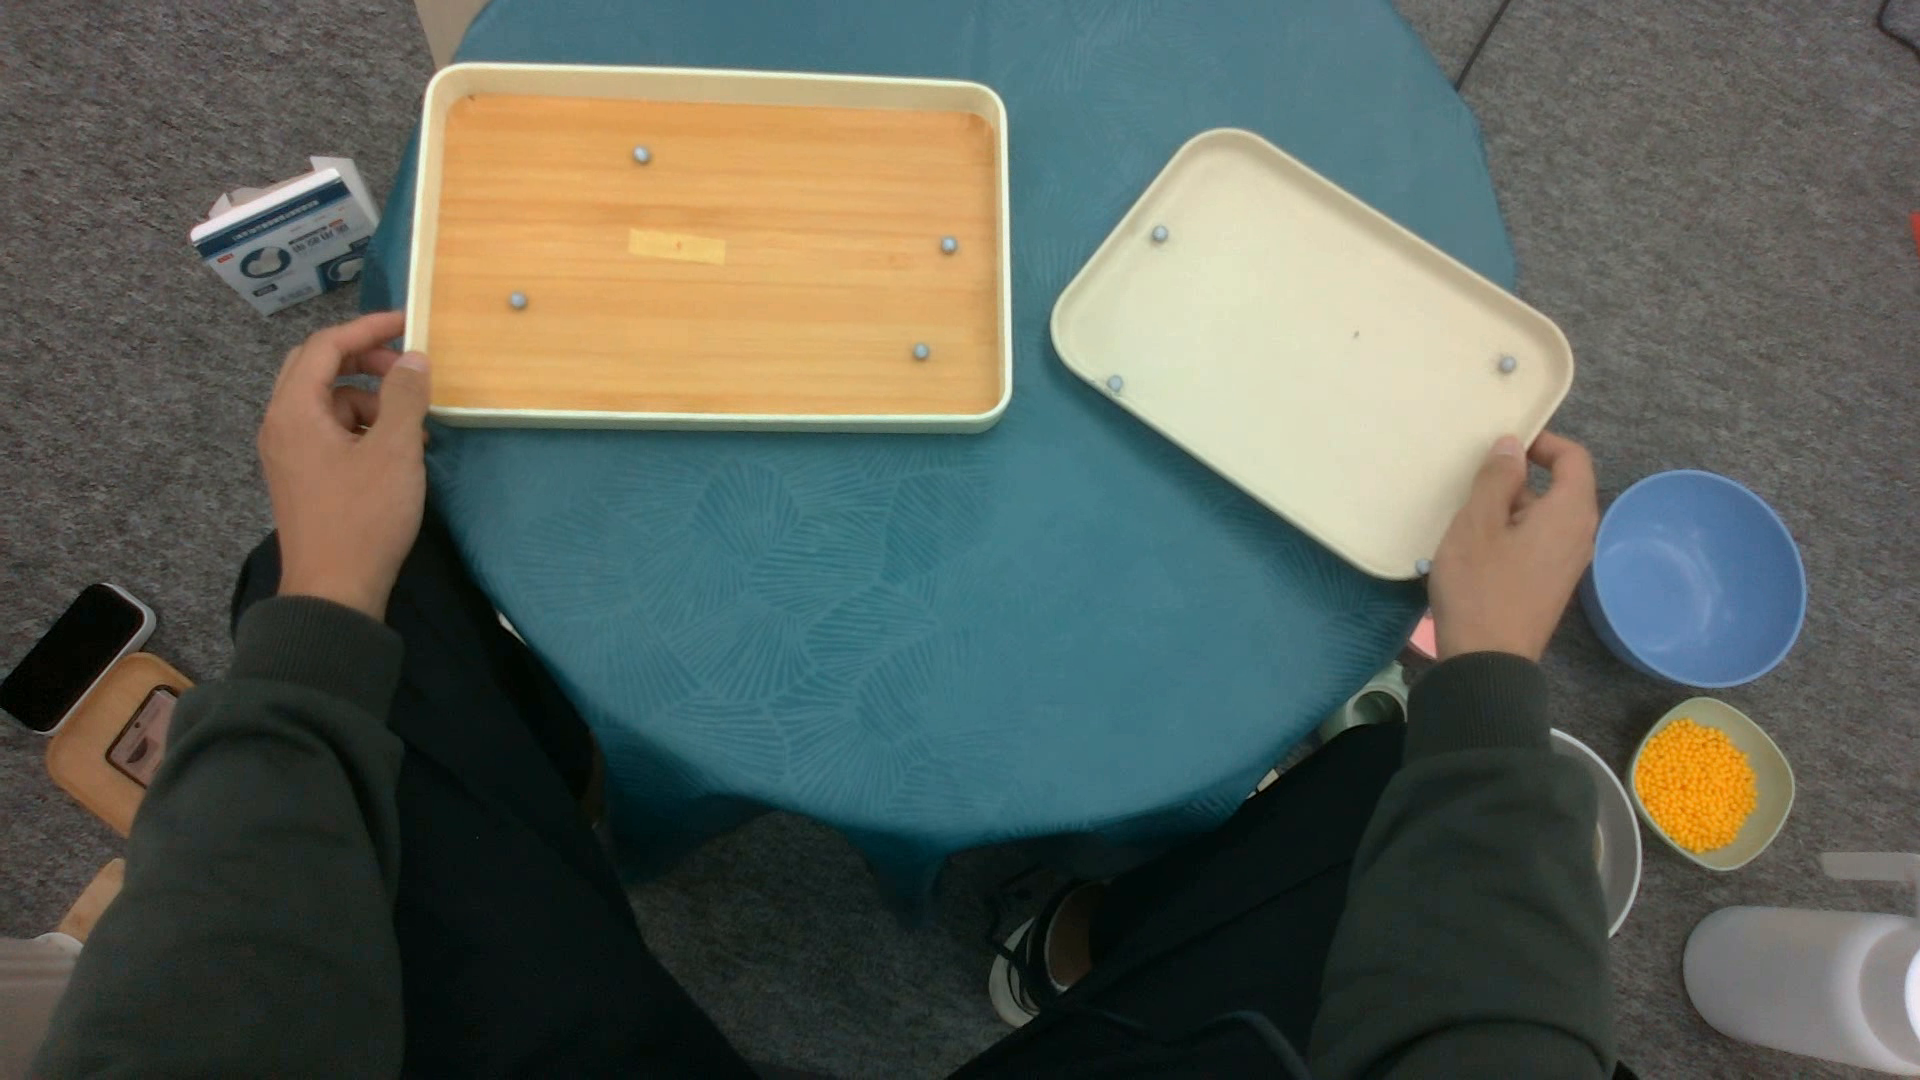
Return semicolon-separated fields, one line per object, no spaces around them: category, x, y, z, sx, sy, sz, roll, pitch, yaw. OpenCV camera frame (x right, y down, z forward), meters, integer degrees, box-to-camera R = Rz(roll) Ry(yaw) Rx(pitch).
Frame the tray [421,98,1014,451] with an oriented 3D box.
tray;-0.124;-0.142;0.730;0.300;0.027;0.192;-1;77;-4

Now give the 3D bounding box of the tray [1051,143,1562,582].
tray;0.182;-0.098;0.733;0.240;0.017;0.171;36;77;12
